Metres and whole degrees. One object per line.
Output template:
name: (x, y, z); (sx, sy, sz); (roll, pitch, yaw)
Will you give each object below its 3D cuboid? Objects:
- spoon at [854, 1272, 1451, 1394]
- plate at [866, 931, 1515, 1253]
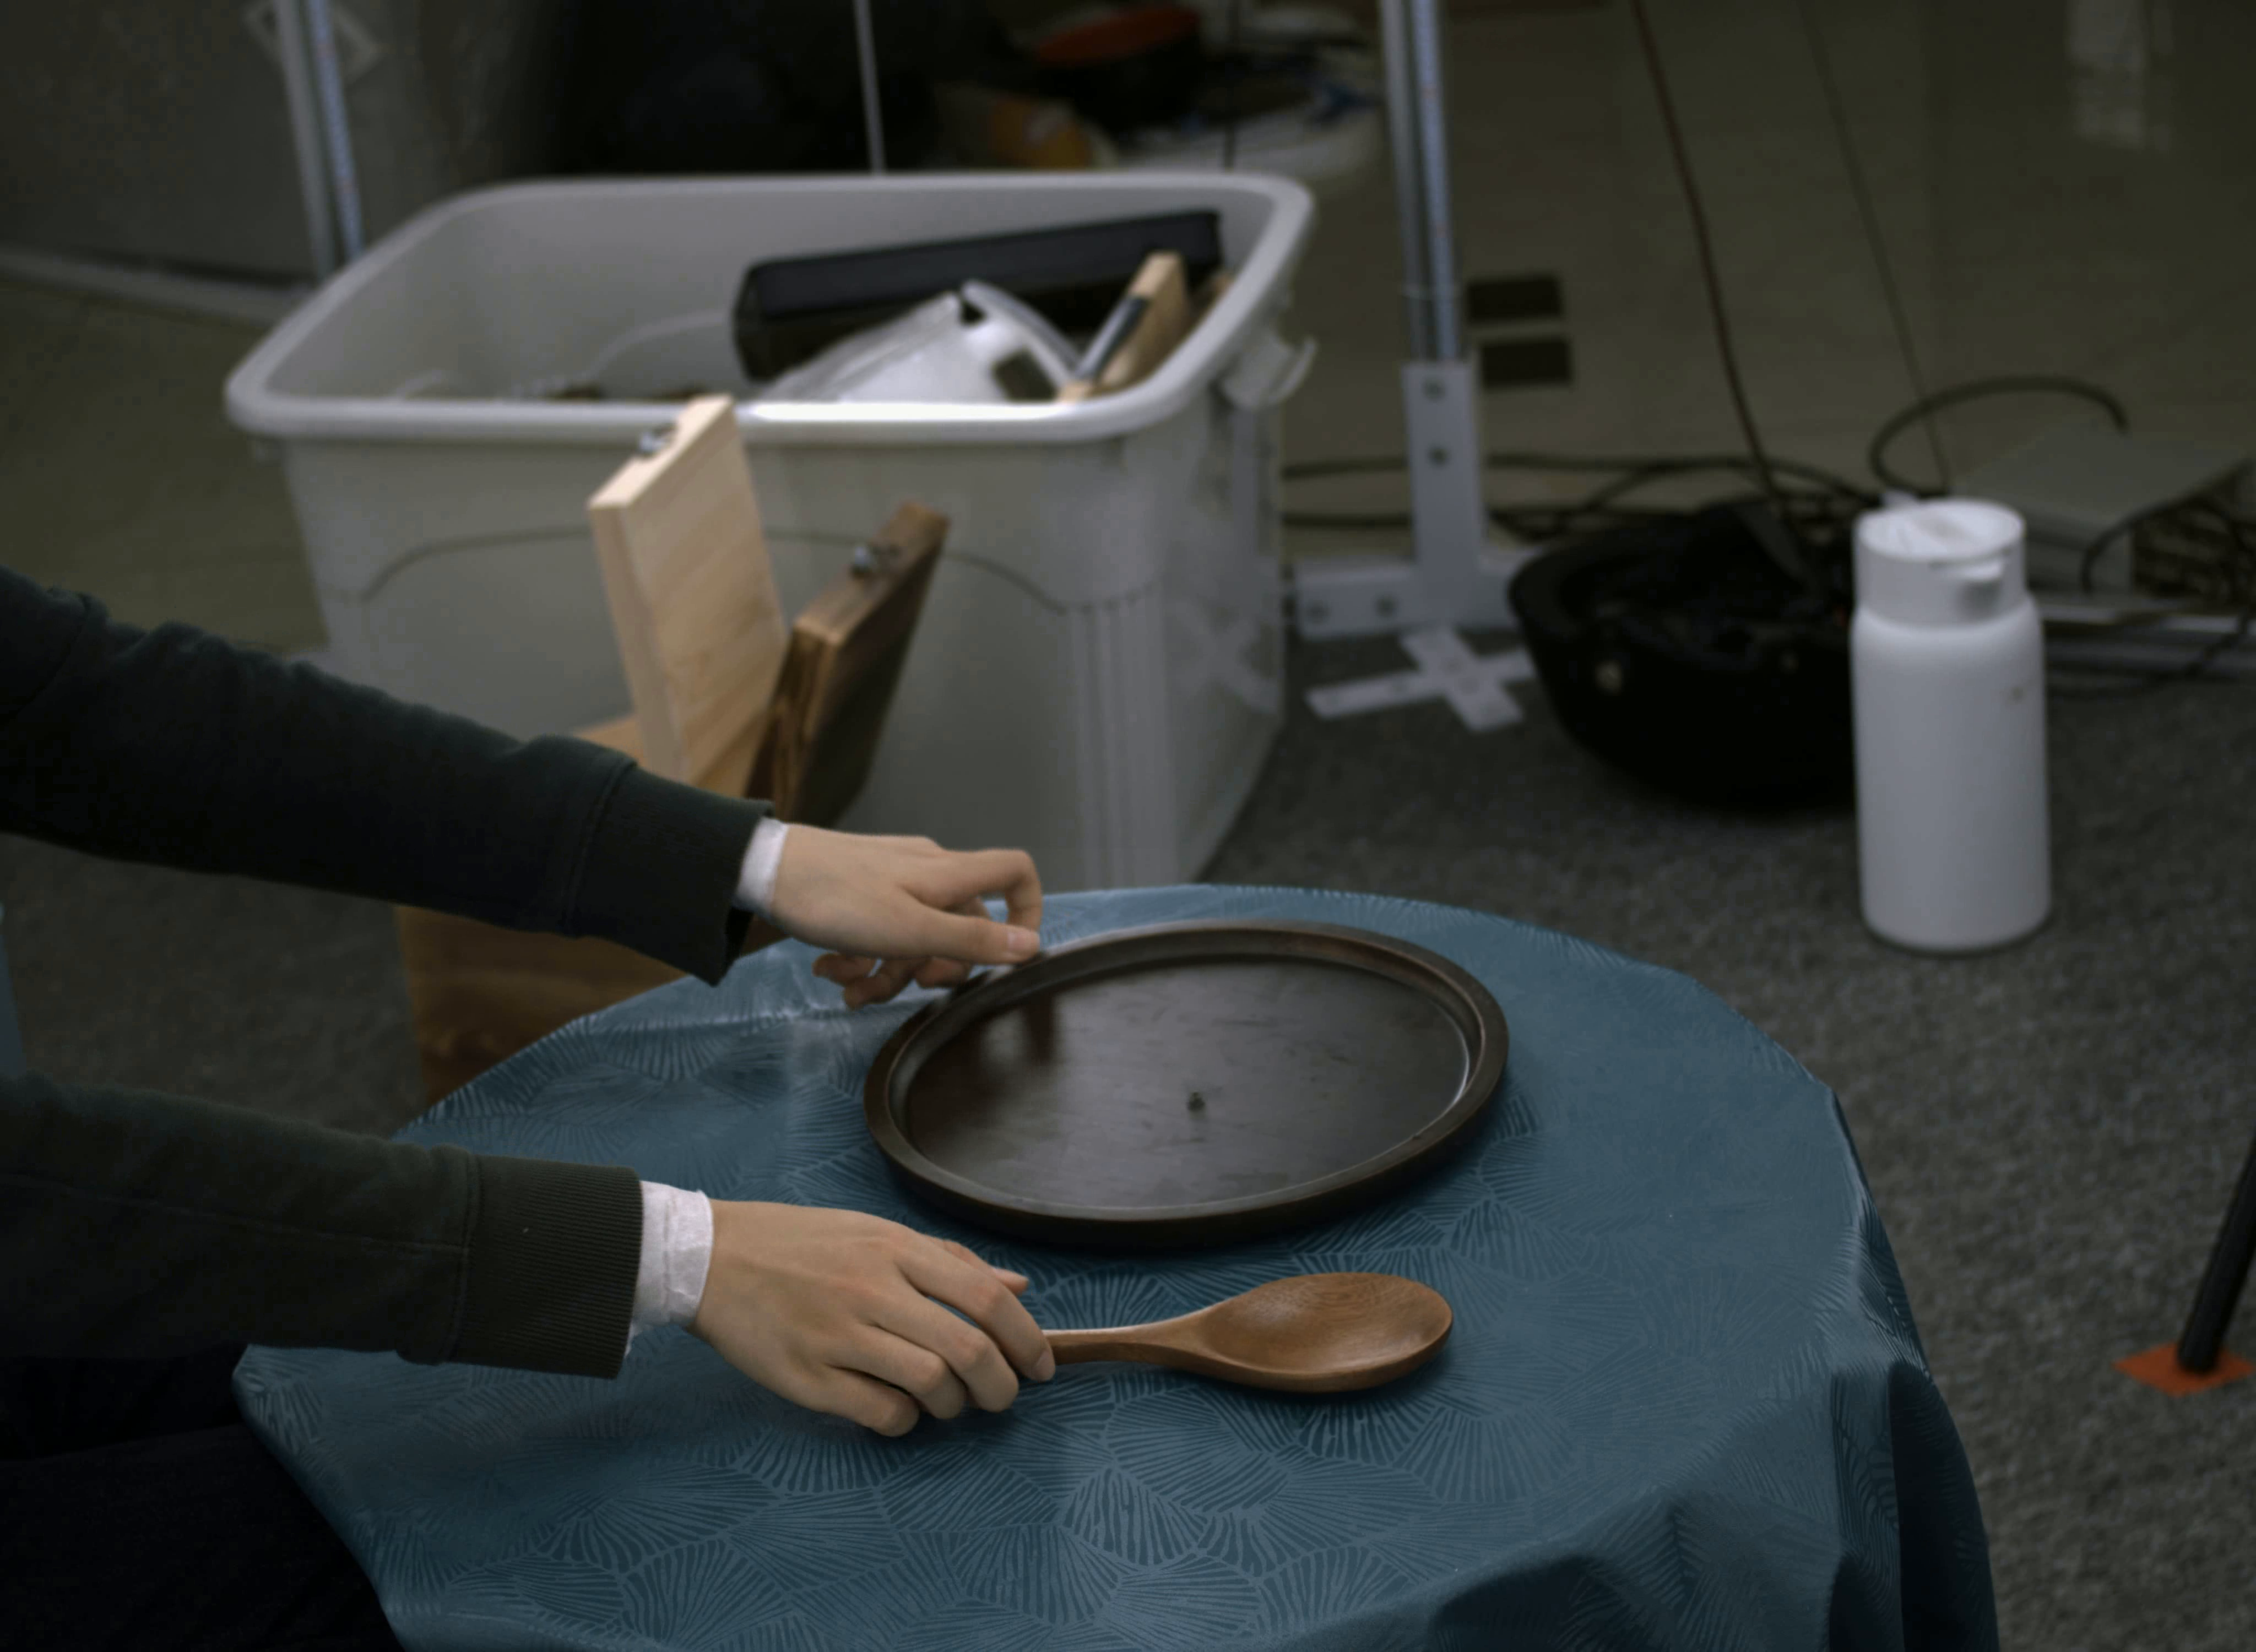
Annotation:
spoon: (0.008, 0.186, 2.030); (0.215, 0.017, 0.074); (-3, 25, 8)
plate: (0.024, 0.101, 2.202); (0.254, 0.029, 0.251); (-4, 24, 2)
